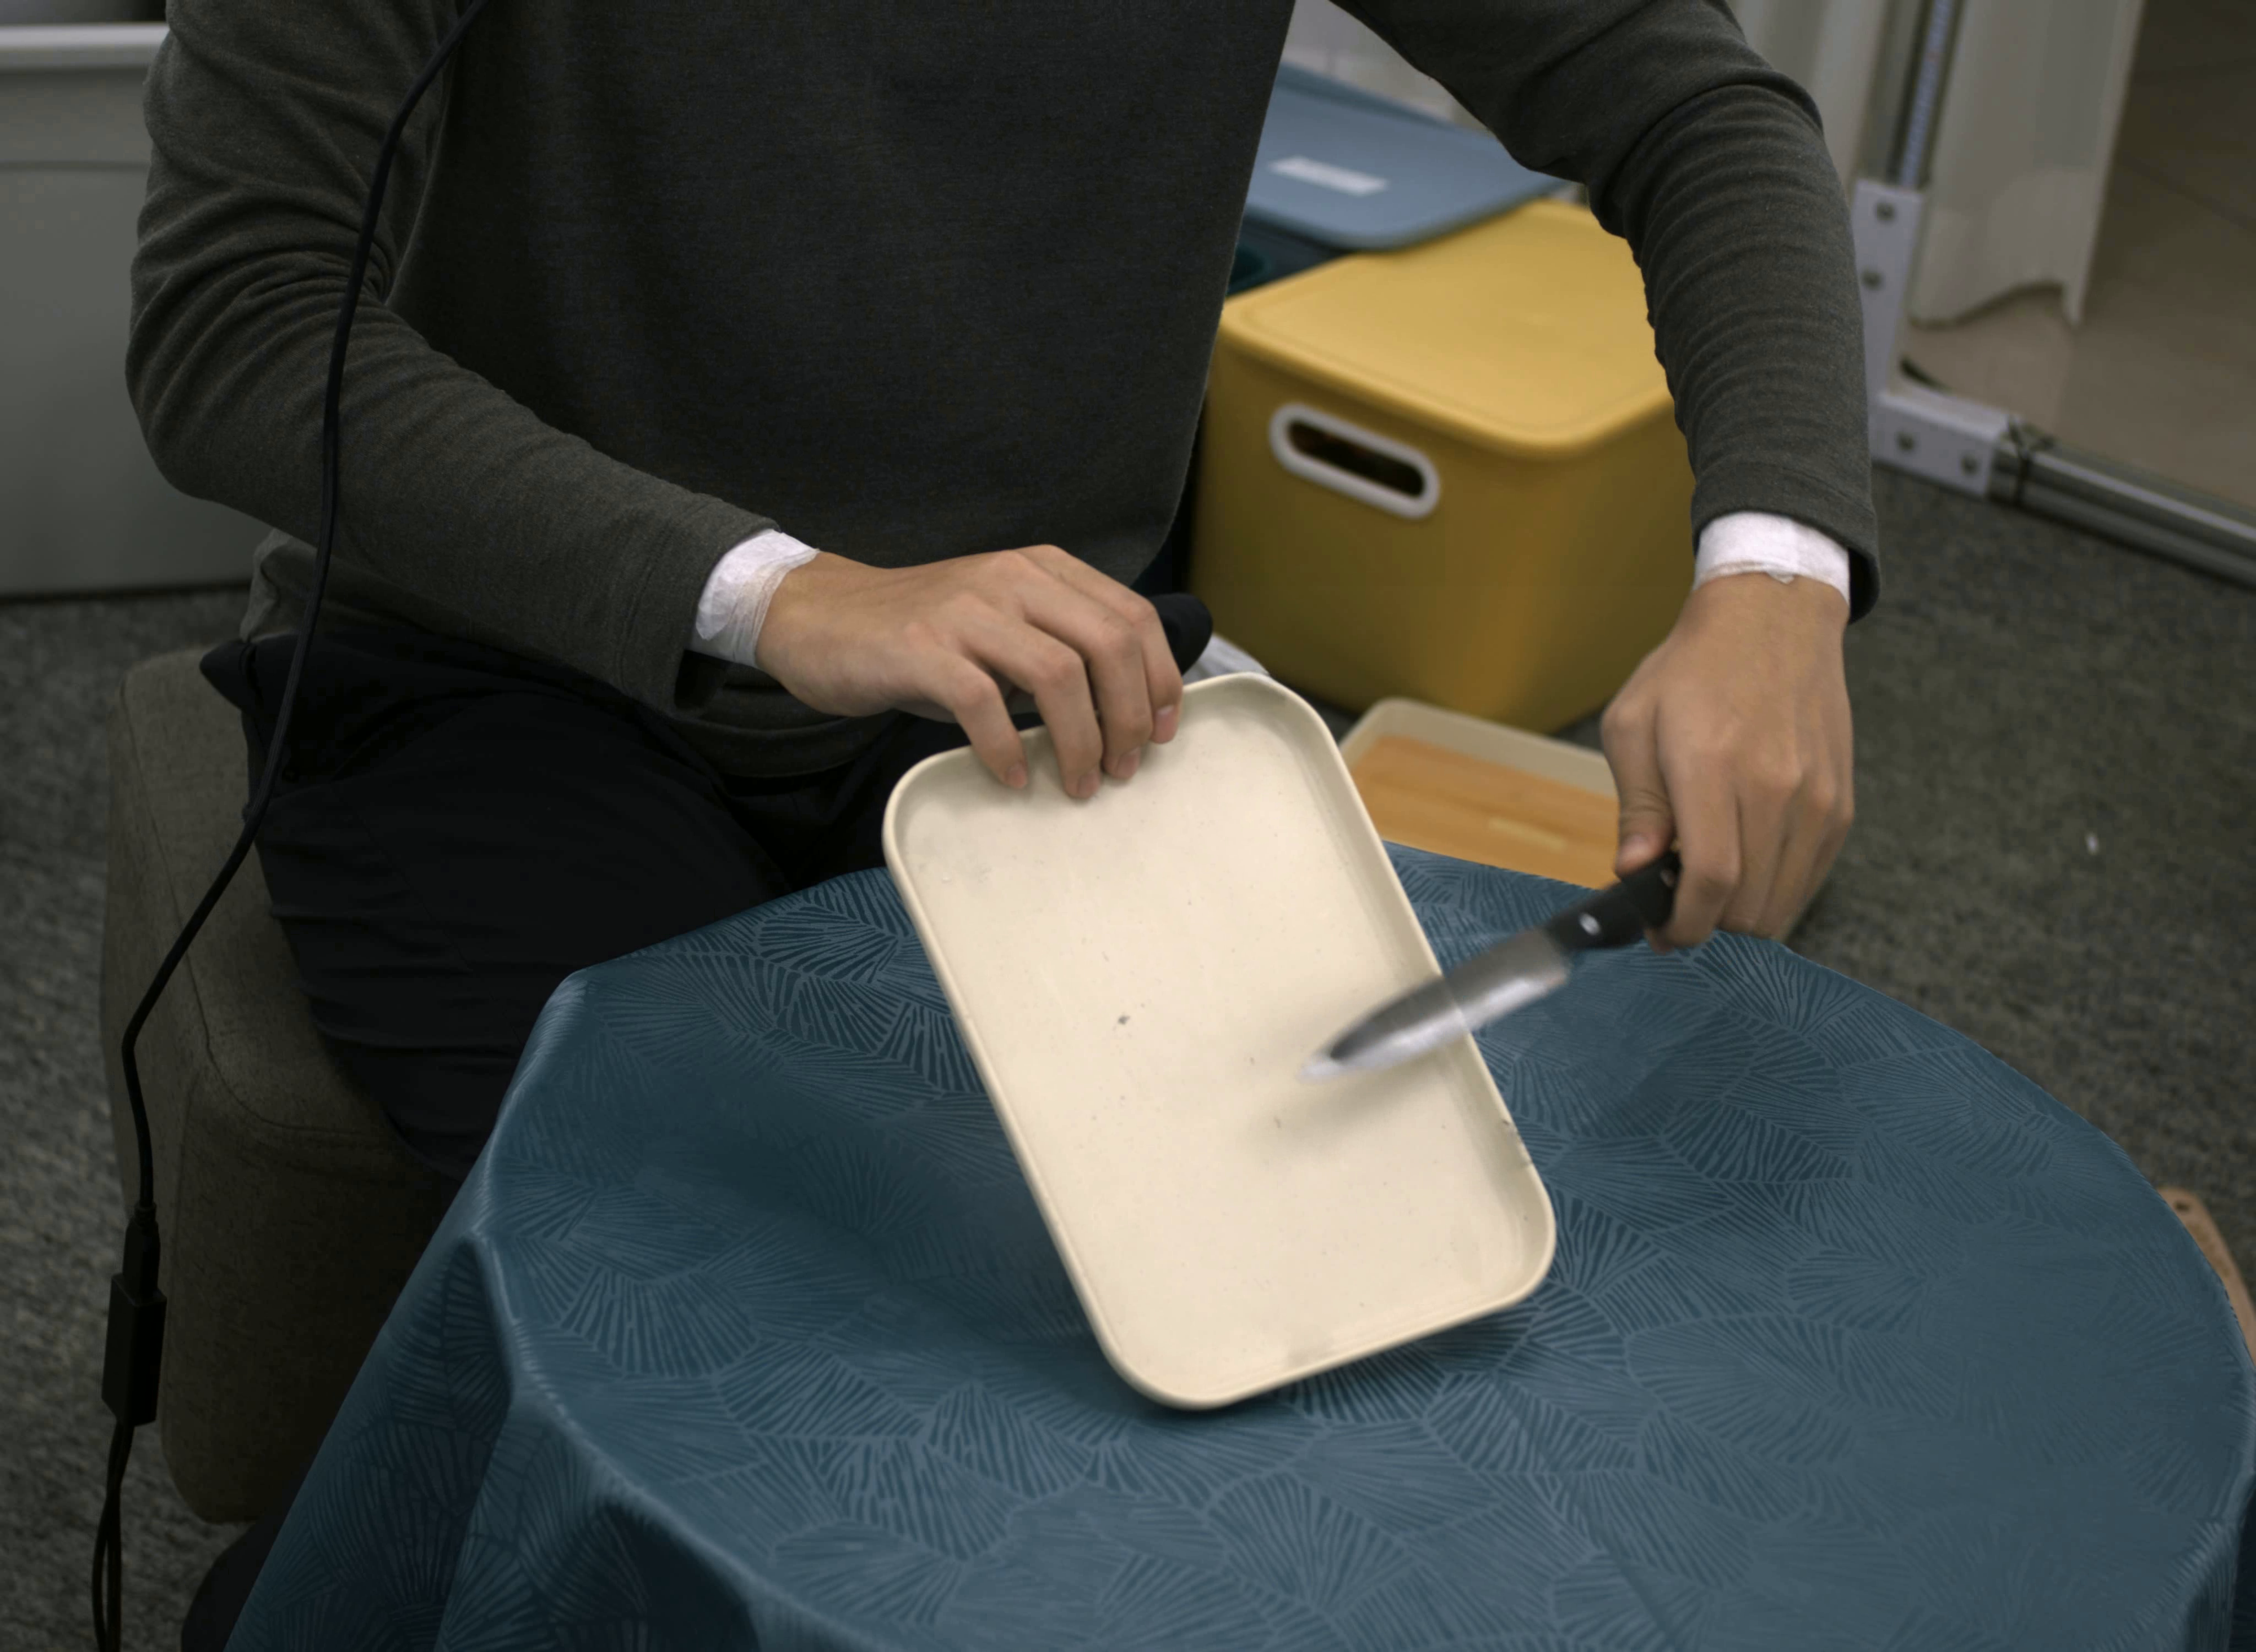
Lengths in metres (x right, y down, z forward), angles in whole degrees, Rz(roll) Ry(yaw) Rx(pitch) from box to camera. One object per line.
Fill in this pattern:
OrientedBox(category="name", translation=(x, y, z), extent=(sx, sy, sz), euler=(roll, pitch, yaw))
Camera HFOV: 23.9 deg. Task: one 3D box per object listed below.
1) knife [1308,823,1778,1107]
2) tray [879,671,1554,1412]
OrientedBox(category="knife", translation=(0.140, 0.046, 1.796), extent=(0.237, 0.016, 0.024), euler=(-27, 86, -39))
OrientedBox(category="tray", translation=(0.028, 0.069, 1.749), extent=(0.170, 0.017, 0.241), euler=(-16, 70, -25))
